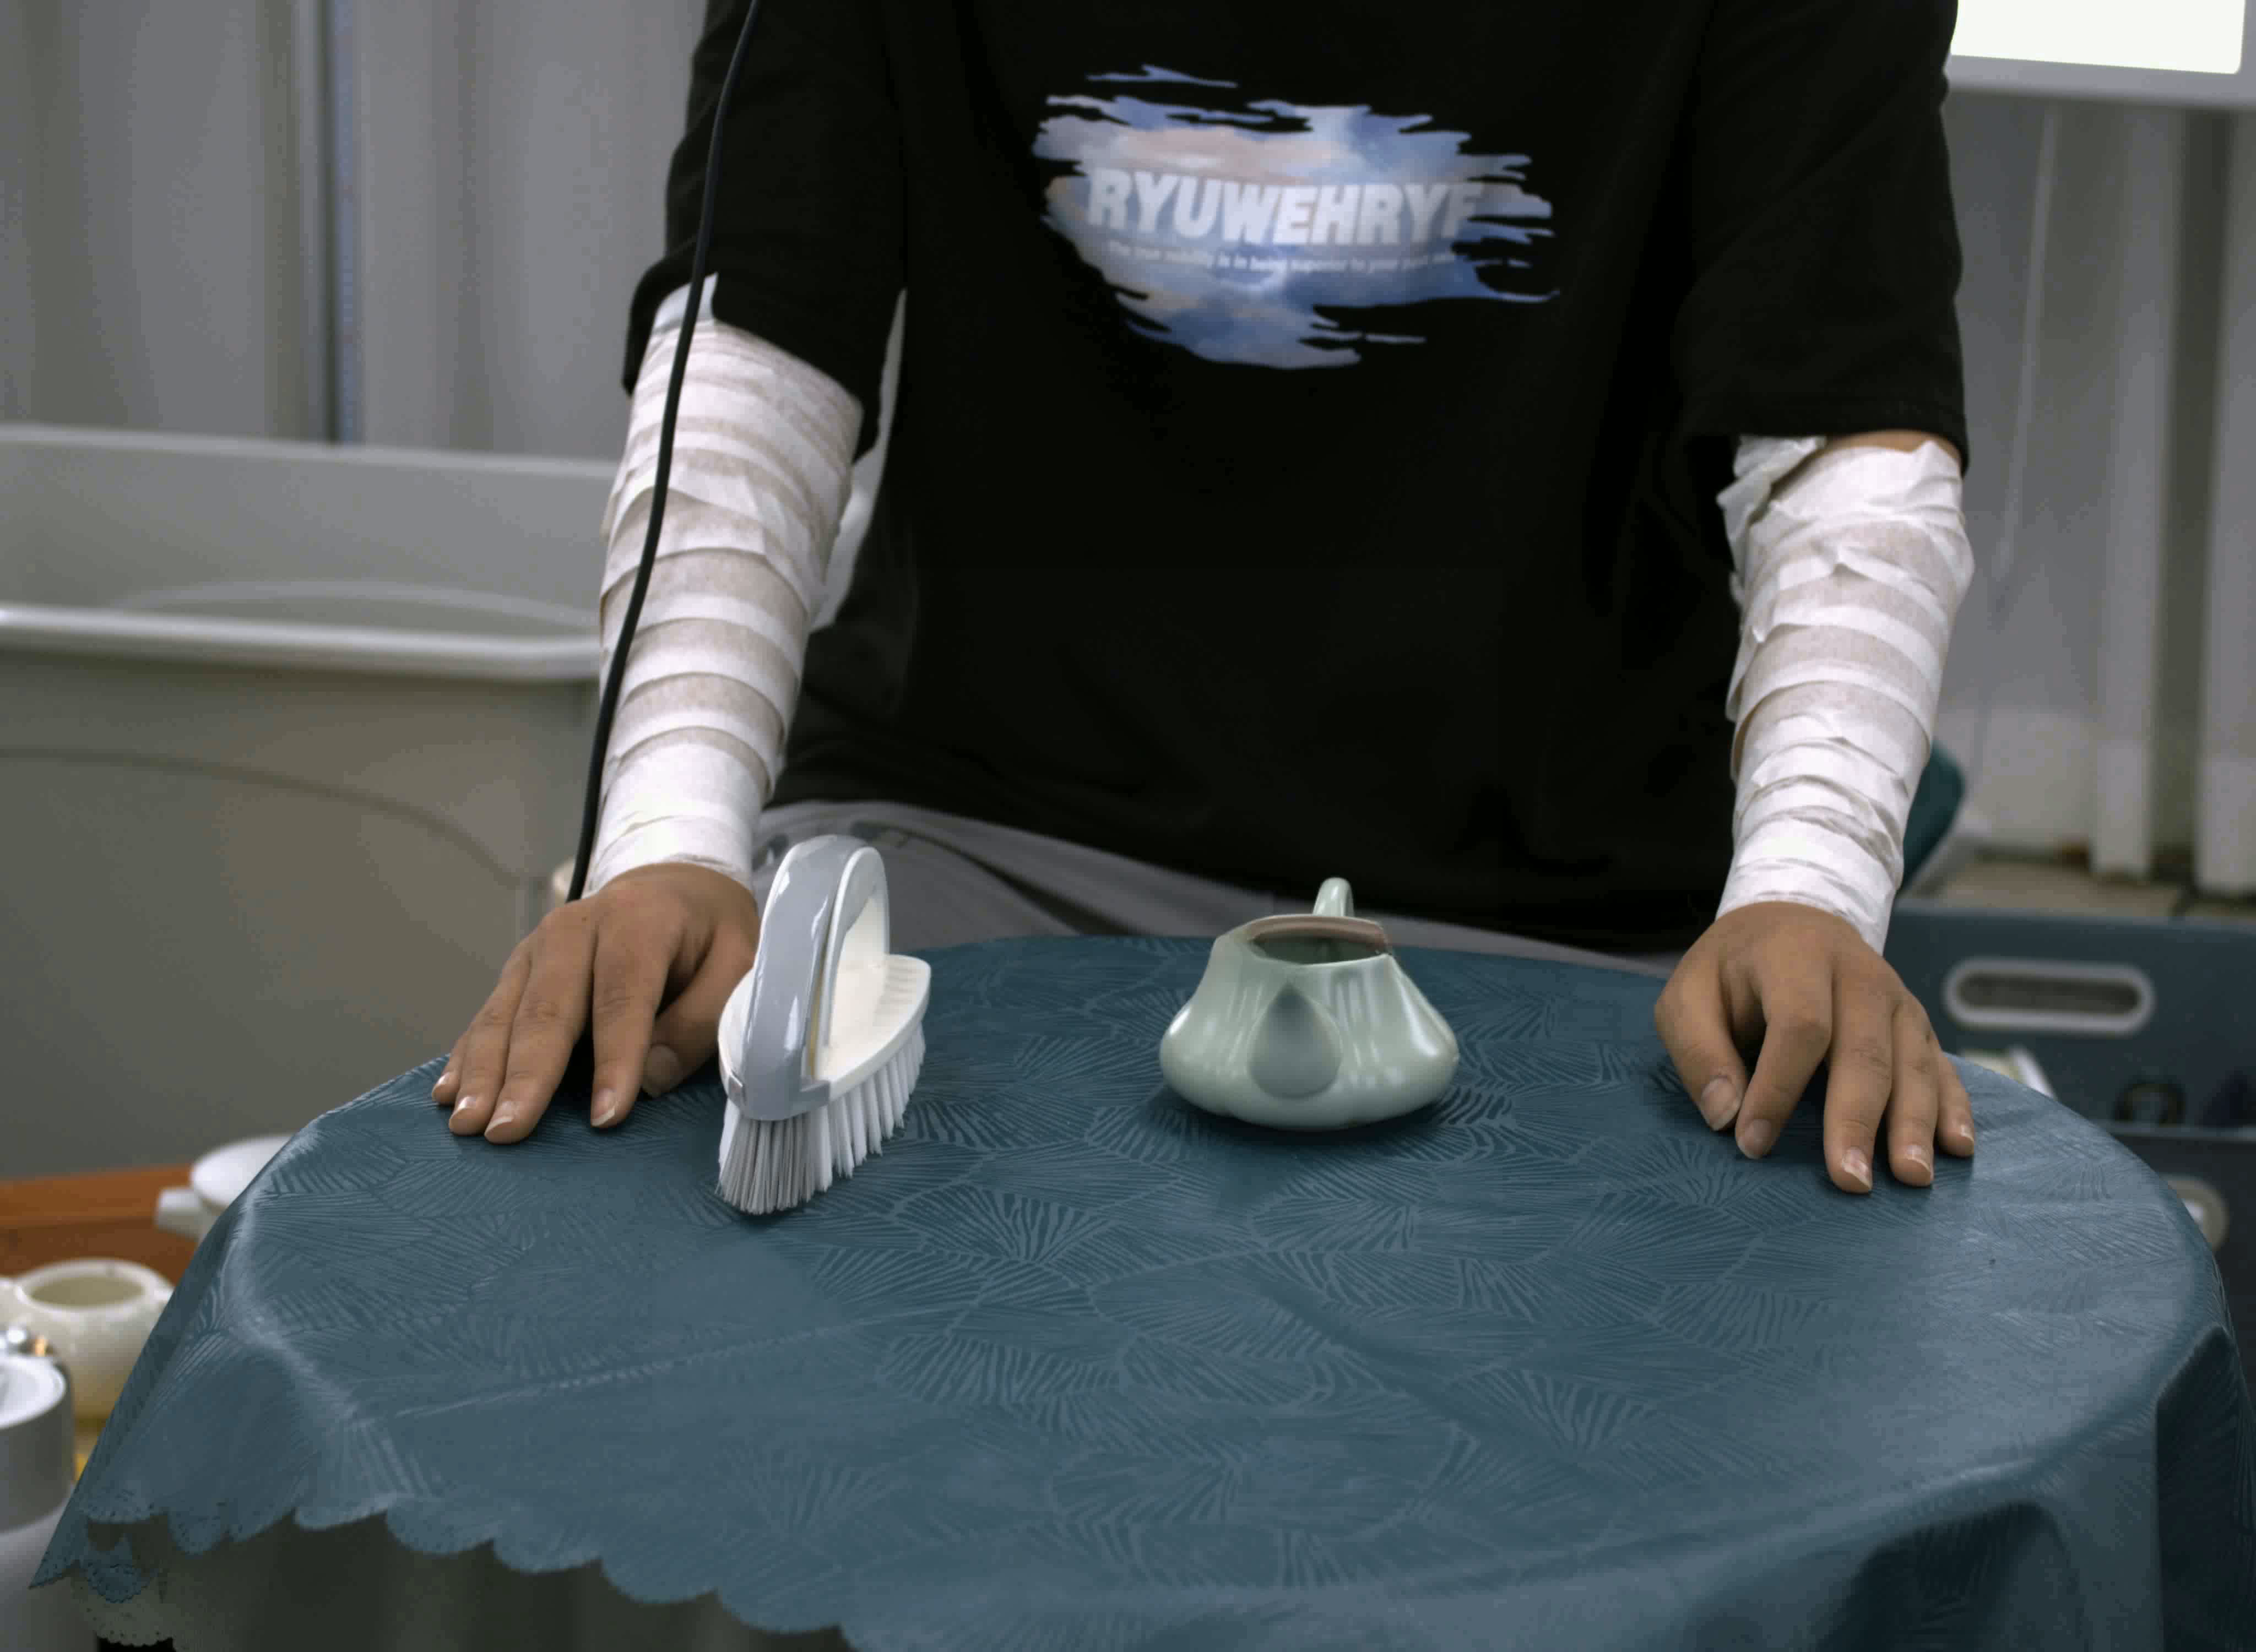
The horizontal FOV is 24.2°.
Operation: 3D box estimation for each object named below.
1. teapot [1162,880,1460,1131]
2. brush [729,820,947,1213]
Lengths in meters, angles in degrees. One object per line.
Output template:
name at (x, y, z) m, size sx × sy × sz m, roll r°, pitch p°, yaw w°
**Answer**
teapot at (0.059, 0.061, 1.700) m, size 0.095 × 0.062 × 0.136 m, roll 0°, pitch 15°, yaw 7°
brush at (-0.097, 0.054, 1.660) m, size 0.061 × 0.095 × 0.175 m, roll -1°, pitch 17°, yaw 8°
